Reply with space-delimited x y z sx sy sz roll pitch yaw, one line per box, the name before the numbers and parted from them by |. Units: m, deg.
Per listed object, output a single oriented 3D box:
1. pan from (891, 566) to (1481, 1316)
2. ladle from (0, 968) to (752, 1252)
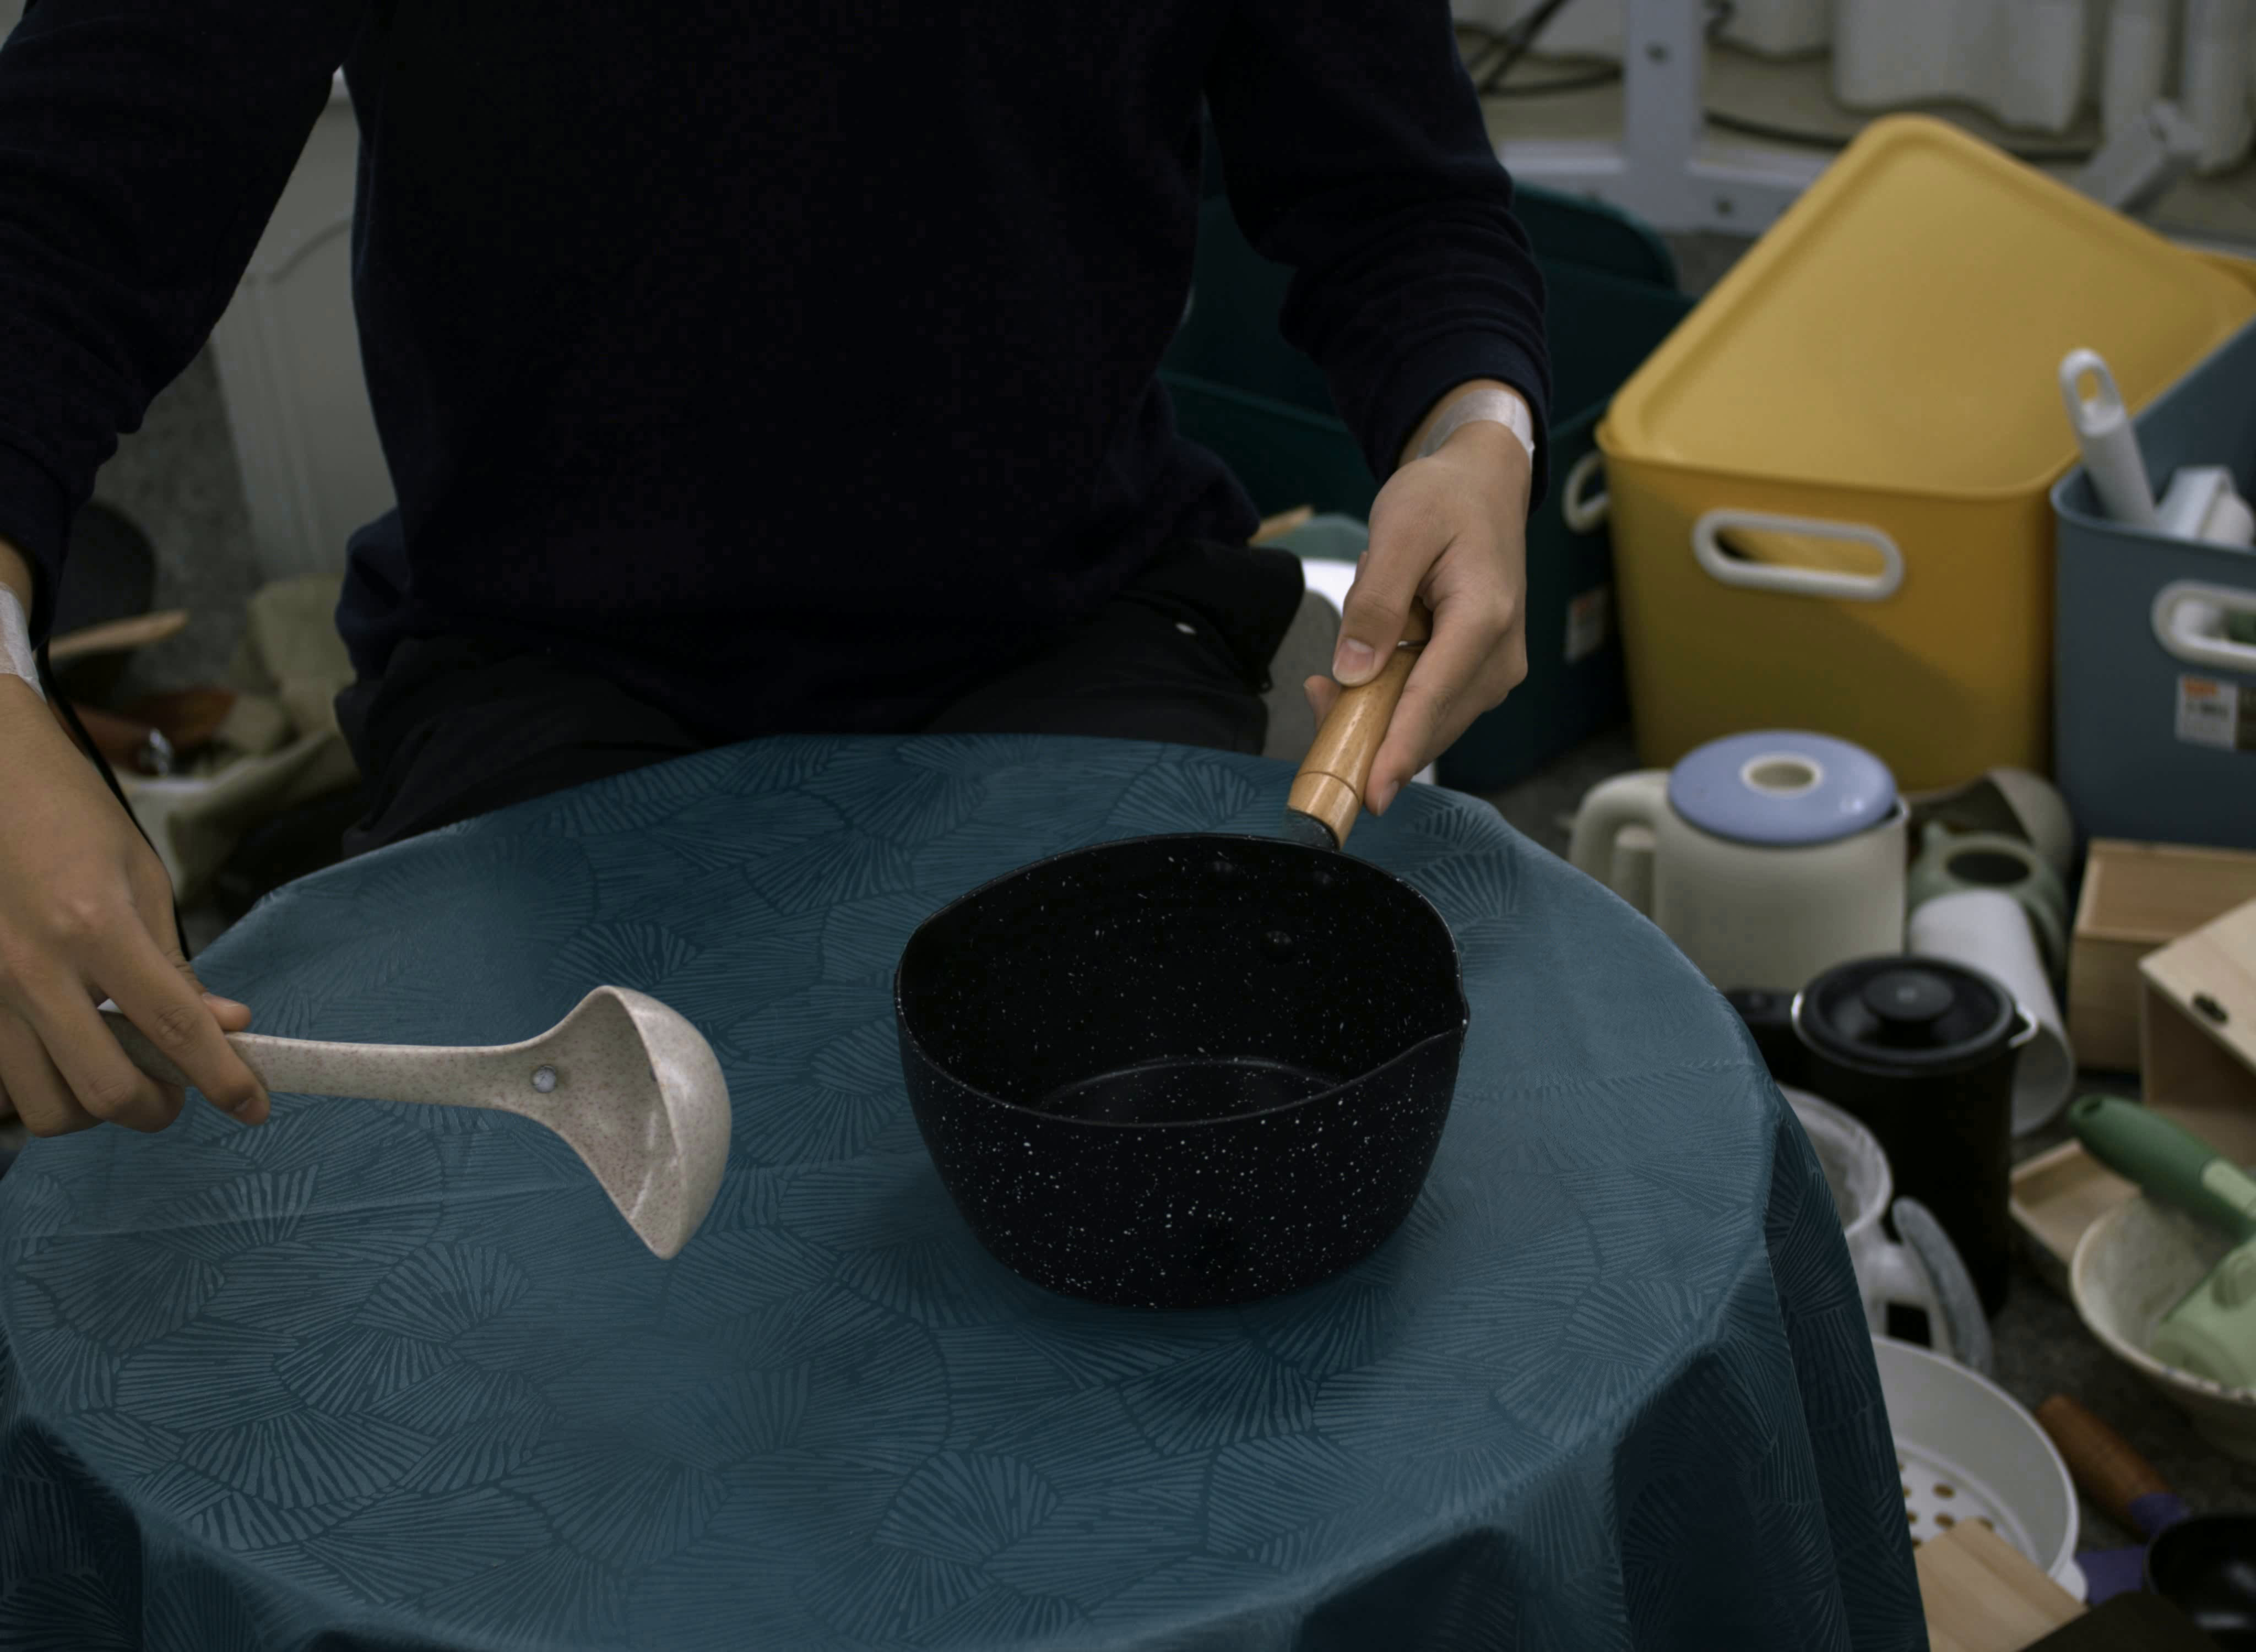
pan | 0.046 0.035 1.900 0.206 0.107 0.349 6 32 20
ladle | -0.250 0.080 1.737 0.273 0.088 0.070 4 21 7
